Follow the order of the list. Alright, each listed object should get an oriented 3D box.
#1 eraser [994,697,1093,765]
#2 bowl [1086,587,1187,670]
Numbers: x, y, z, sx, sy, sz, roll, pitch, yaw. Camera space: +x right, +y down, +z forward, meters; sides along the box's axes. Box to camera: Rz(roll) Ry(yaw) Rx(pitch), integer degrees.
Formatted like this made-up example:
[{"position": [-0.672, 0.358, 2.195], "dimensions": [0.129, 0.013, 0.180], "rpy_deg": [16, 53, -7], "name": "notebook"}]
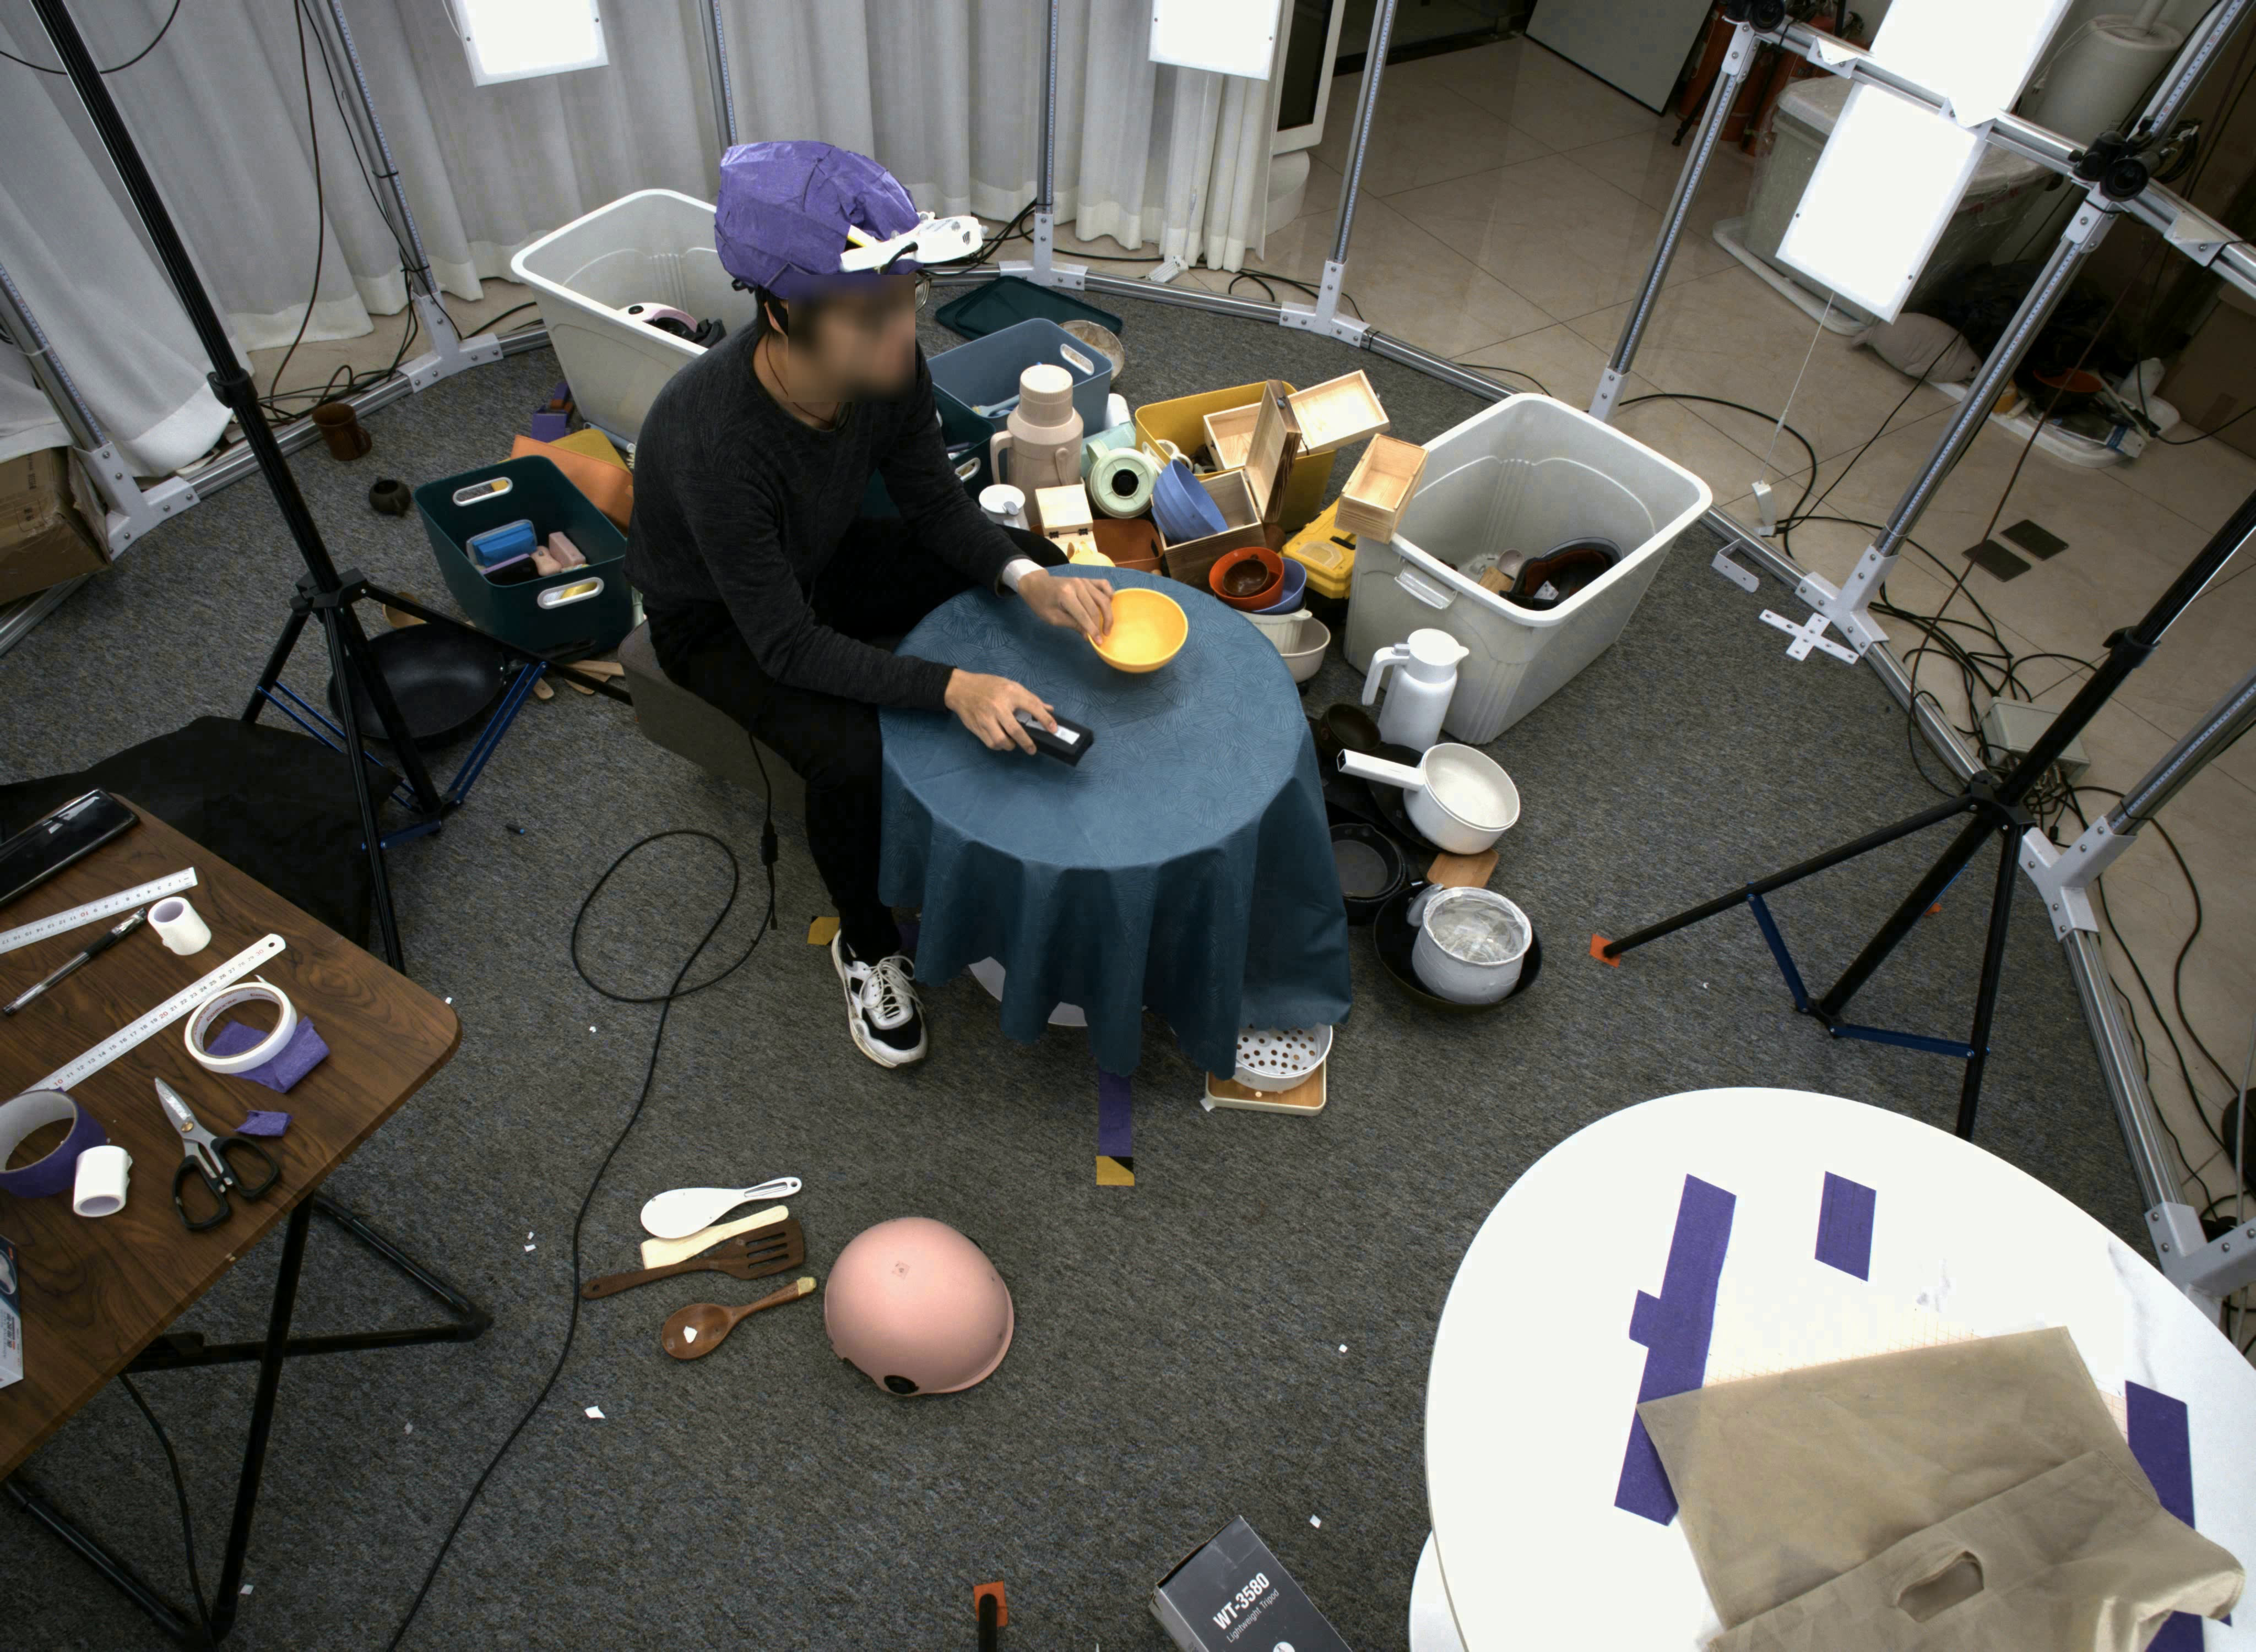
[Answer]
[{"position": [-0.112, -0.128, 1.712], "dimensions": [0.126, 0.030, 0.054], "rpy_deg": [23, 58, 17], "name": "eraser"}, {"position": [0.011, -0.272, 1.841], "dimensions": [0.145, 0.059, 0.149], "rpy_deg": [2, 54, -2], "name": "bowl"}]
